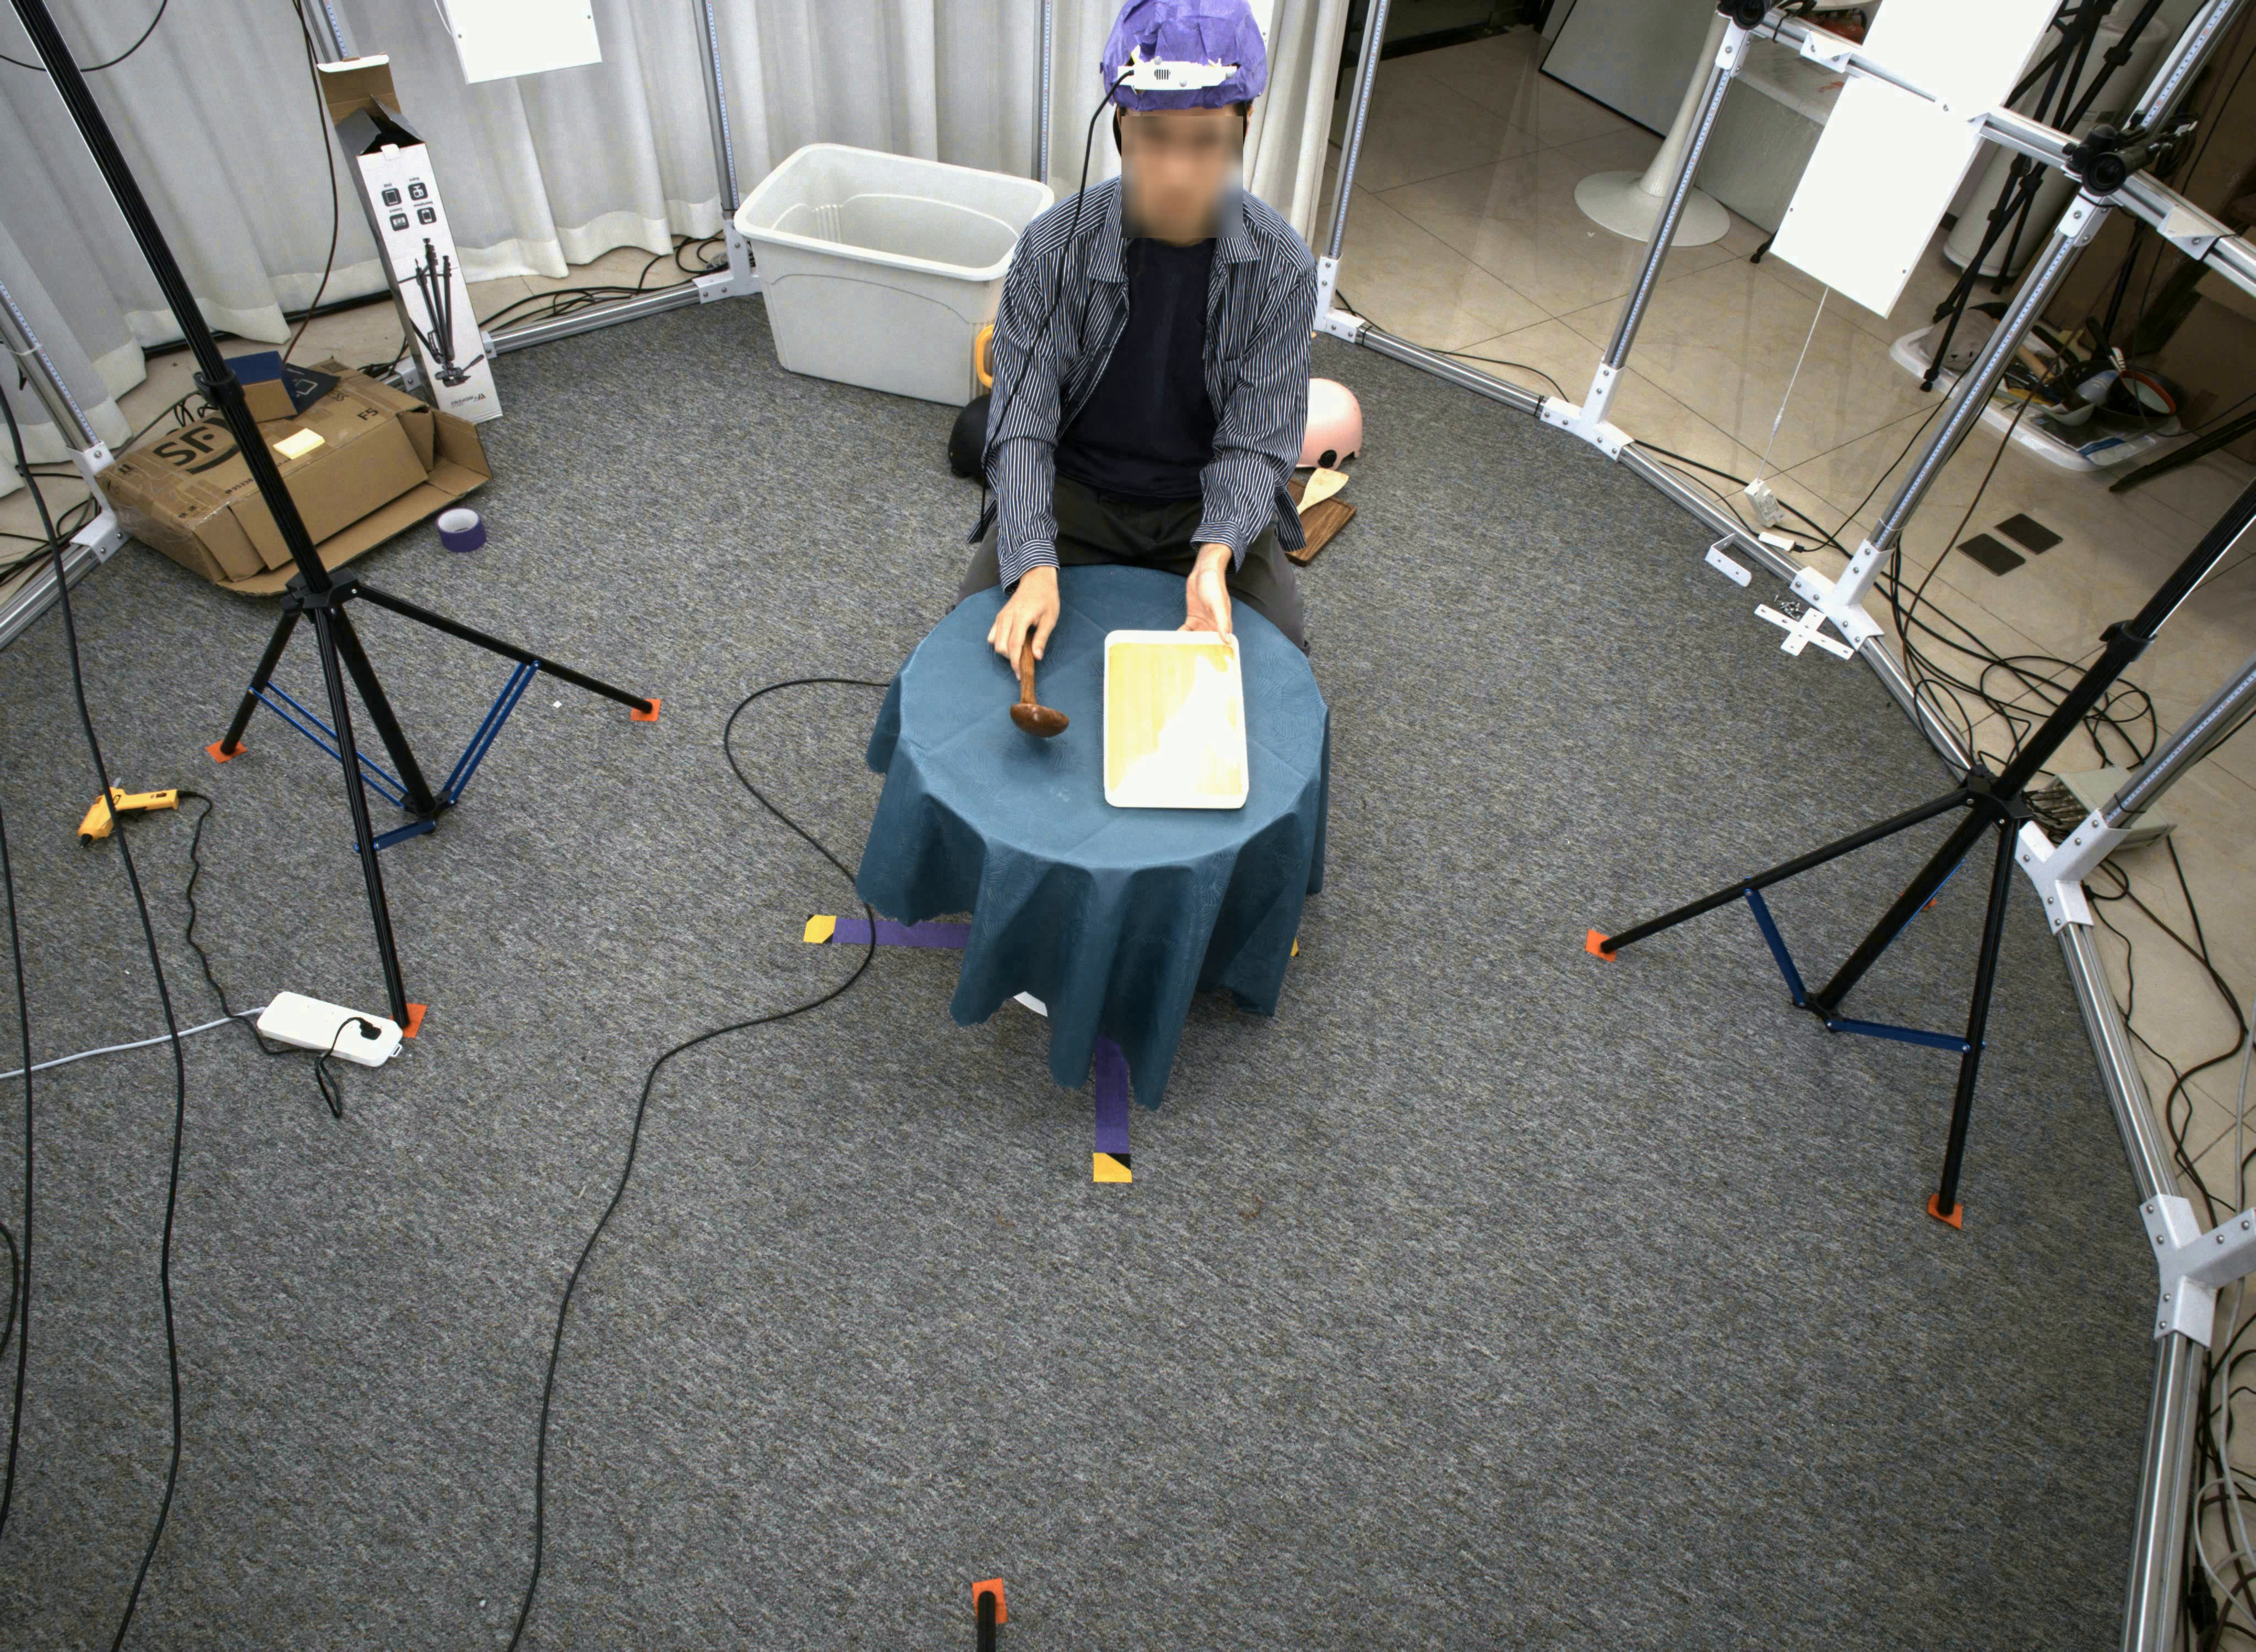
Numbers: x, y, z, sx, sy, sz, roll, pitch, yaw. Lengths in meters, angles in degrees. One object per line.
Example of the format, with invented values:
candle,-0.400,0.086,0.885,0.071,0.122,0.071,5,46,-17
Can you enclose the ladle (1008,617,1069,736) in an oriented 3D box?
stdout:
ladle,-0.128,-0.224,1.777,0.081,0.075,0.281,24,39,-26

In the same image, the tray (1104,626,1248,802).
tray,0.062,-0.160,1.770,0.191,0.027,0.308,1,52,-2
